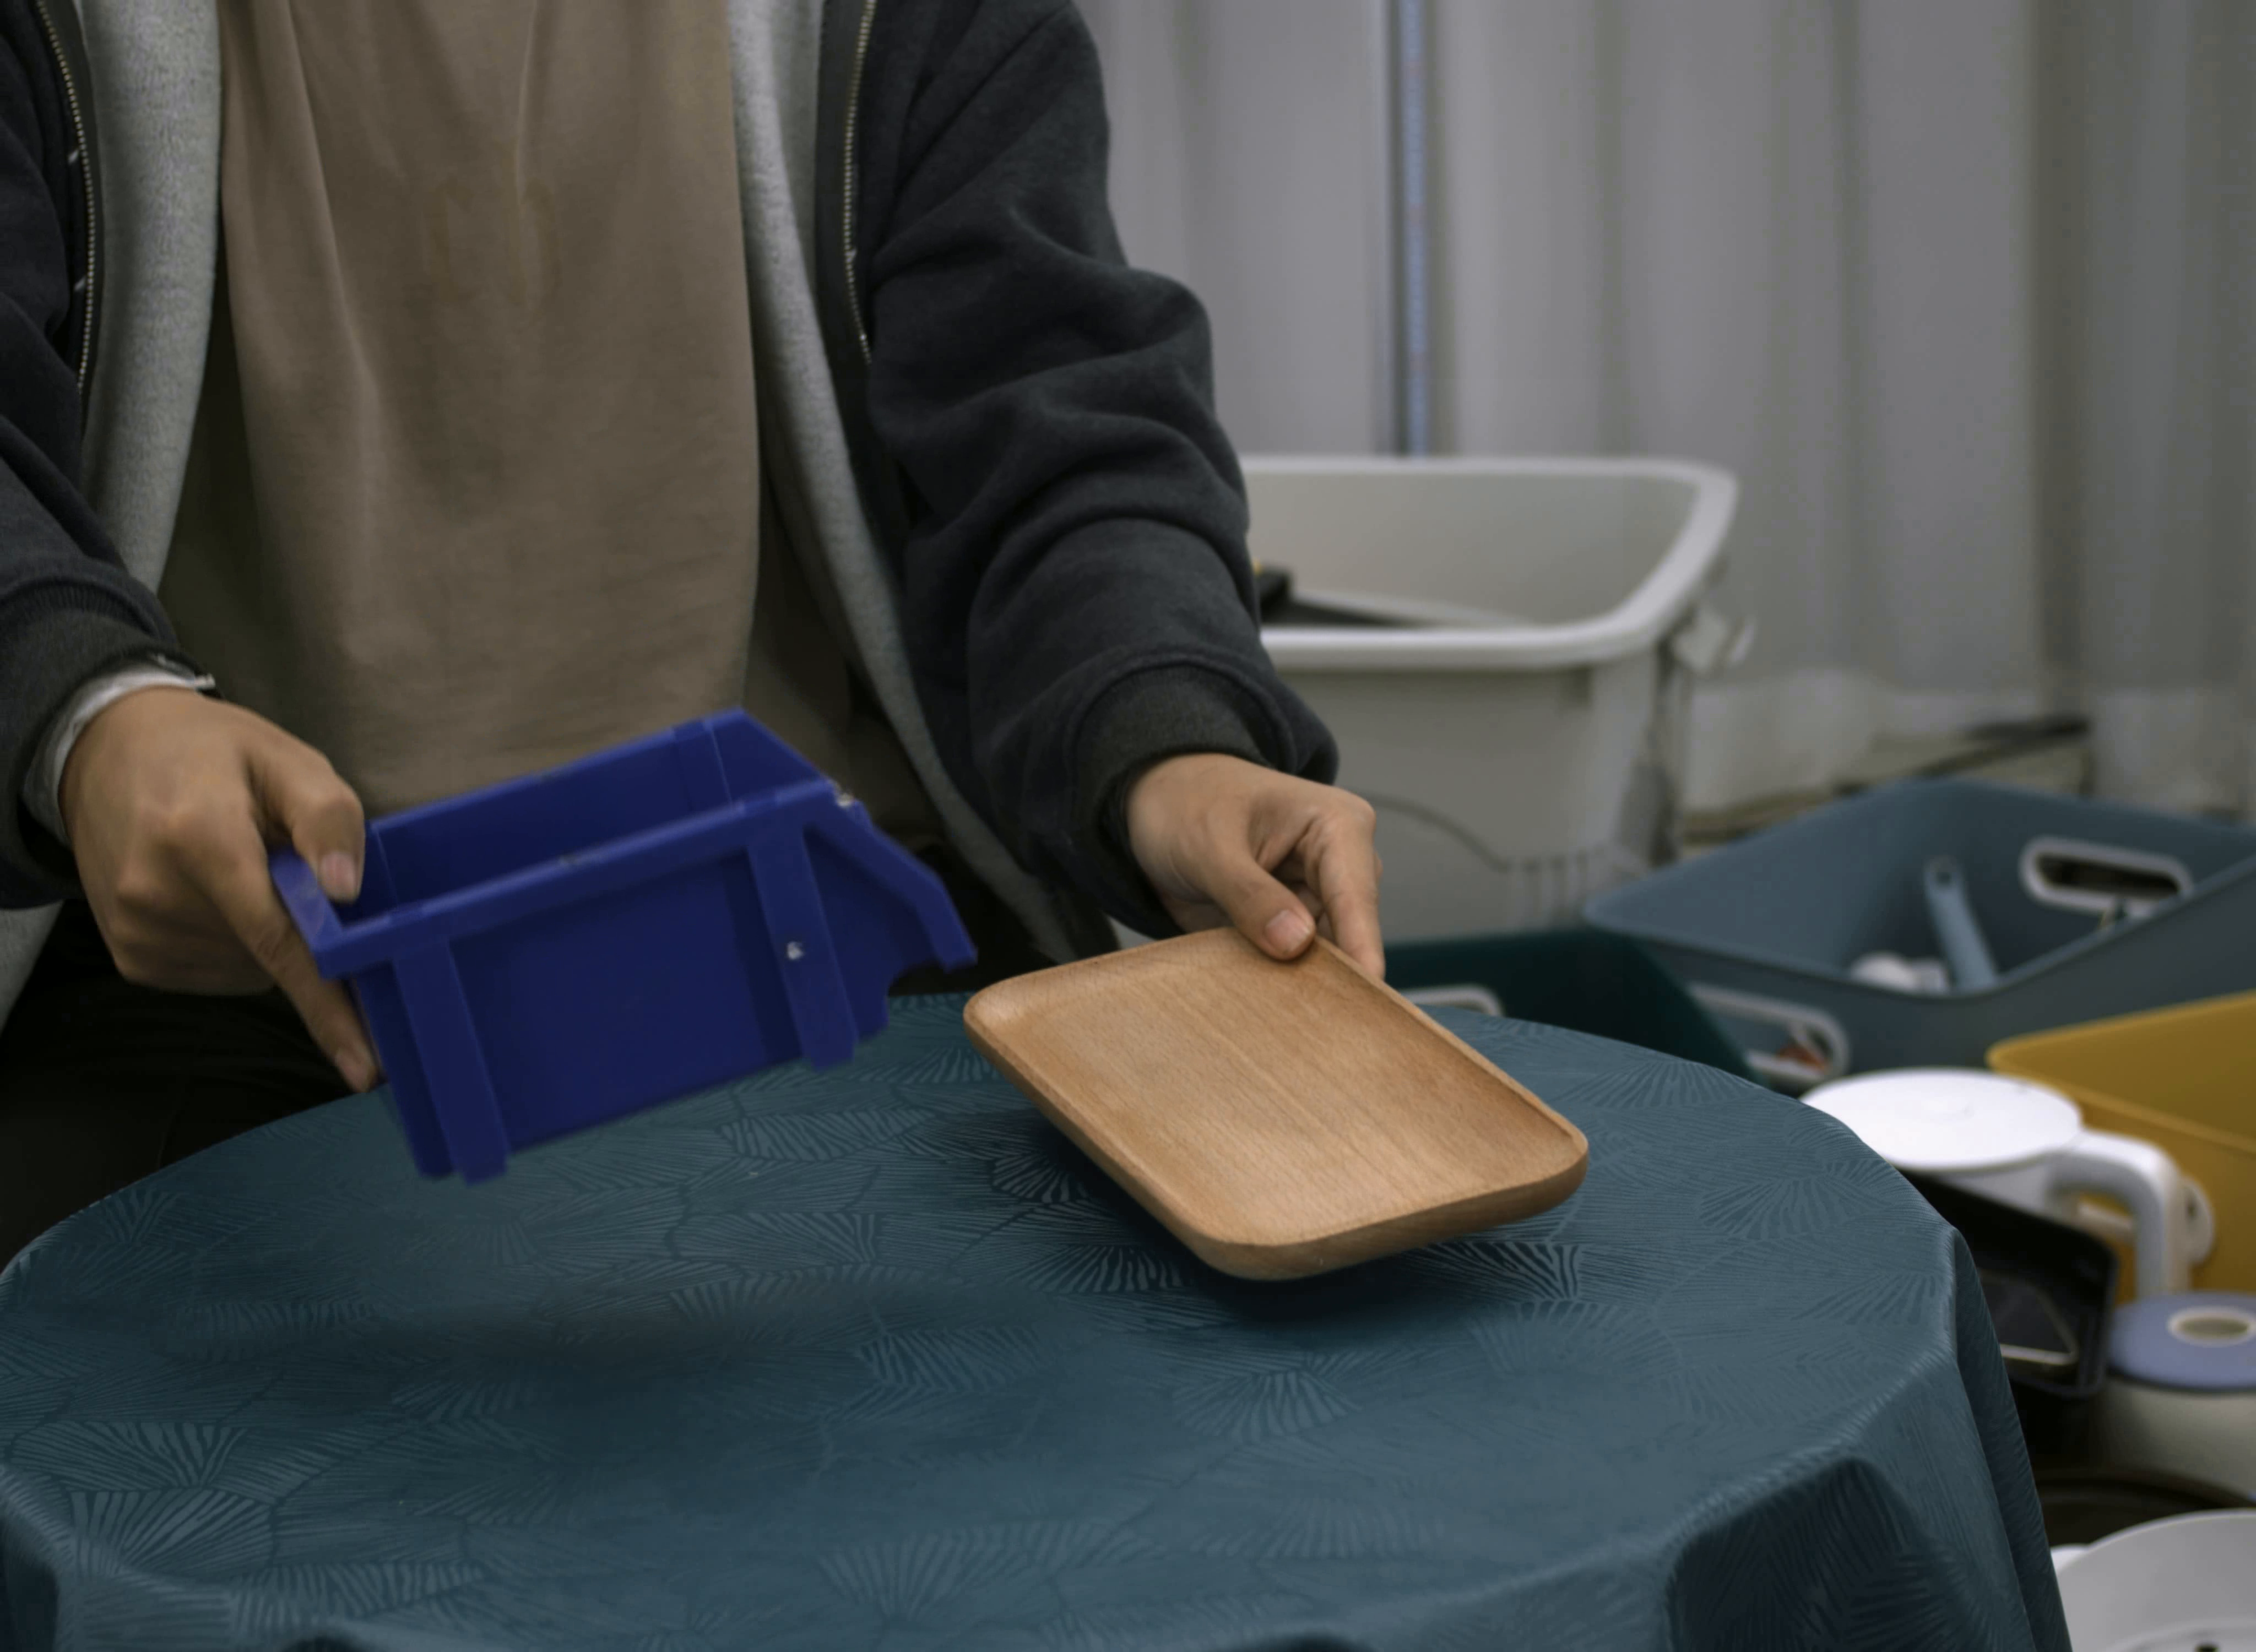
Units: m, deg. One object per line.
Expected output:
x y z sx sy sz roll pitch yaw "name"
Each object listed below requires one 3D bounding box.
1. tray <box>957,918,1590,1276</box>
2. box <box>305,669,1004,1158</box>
0.041 0.081 1.700 0.130 0.023 0.253 -10 19 -19 "tray"
-0.138 0.021 1.596 0.179 0.081 0.125 -21 16 -8 "box"
